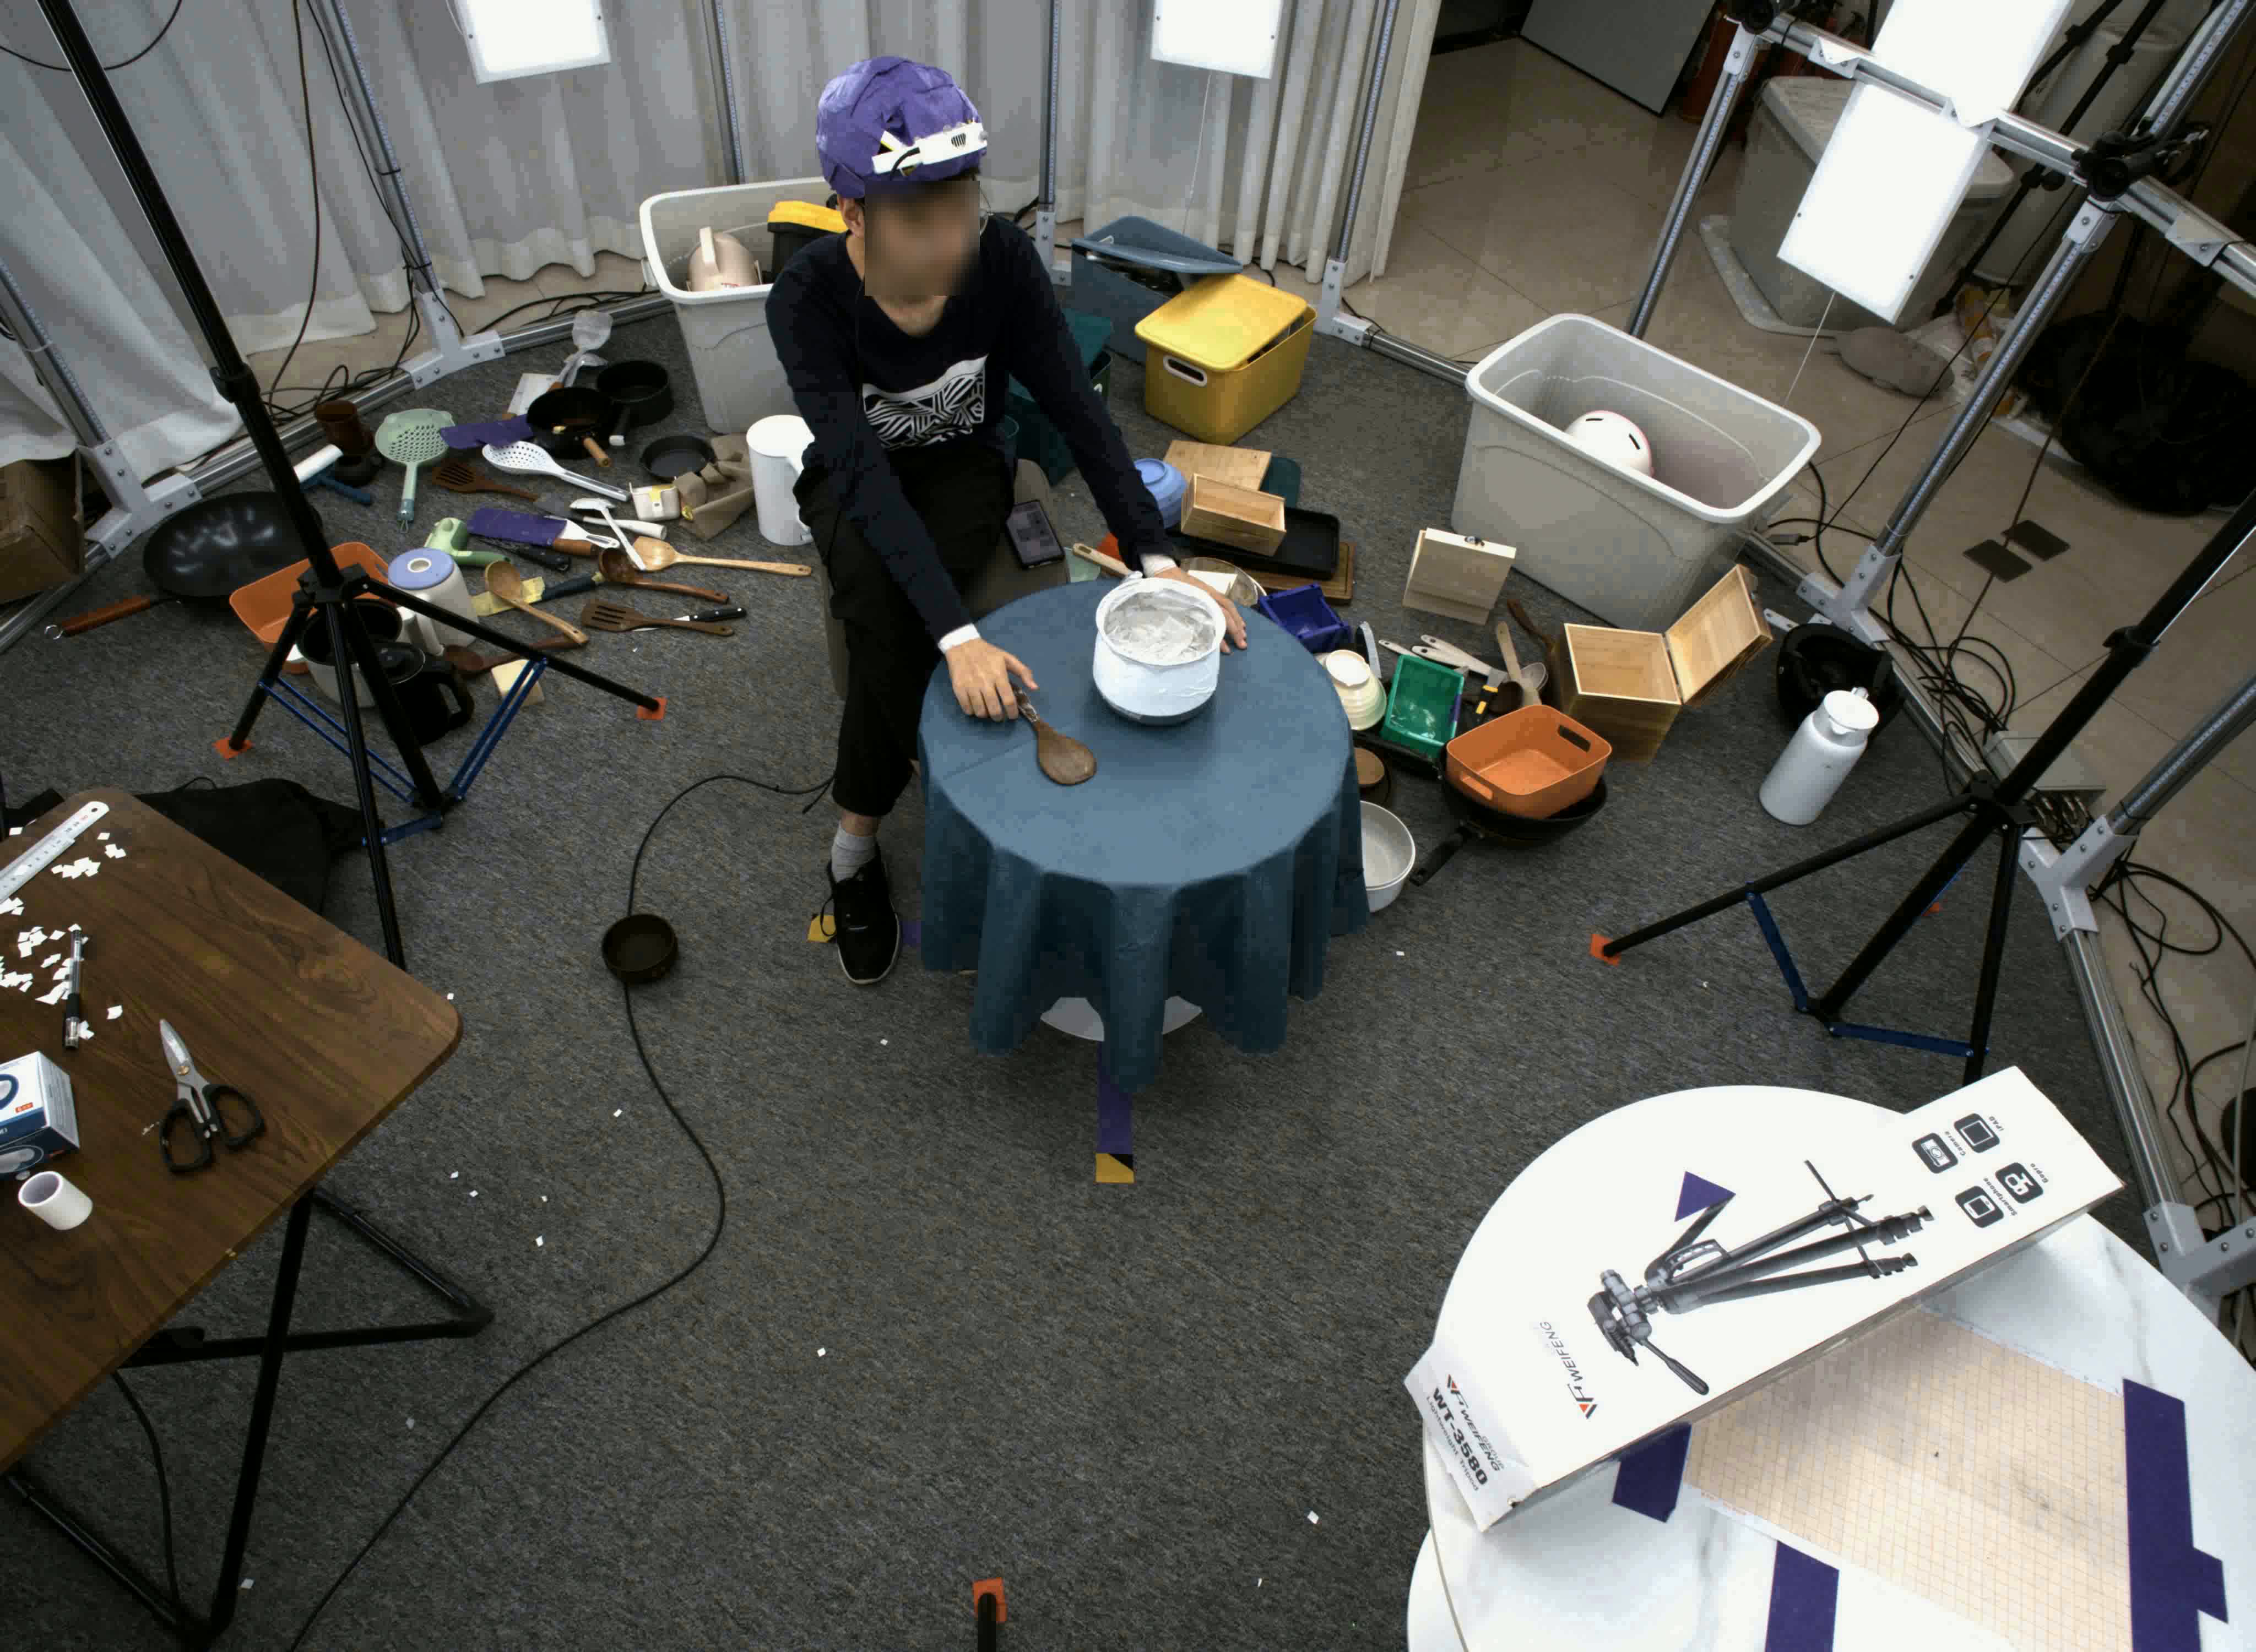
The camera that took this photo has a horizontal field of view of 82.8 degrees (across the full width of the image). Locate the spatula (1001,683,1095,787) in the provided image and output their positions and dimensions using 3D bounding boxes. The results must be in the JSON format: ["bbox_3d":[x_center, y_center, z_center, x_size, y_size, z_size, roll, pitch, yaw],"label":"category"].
[{"bbox_3d":[-0.118,-0.132,1.770,0.072,0.009,0.220,-21,53,-23],"label":"spatula"}]

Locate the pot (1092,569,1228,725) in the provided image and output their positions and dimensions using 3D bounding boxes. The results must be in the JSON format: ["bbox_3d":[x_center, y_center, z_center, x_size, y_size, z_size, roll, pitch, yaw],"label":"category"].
[{"bbox_3d":[0.031,-0.260,1.805,0.179,0.133,0.239,-12,52,-18],"label":"pot"}]
